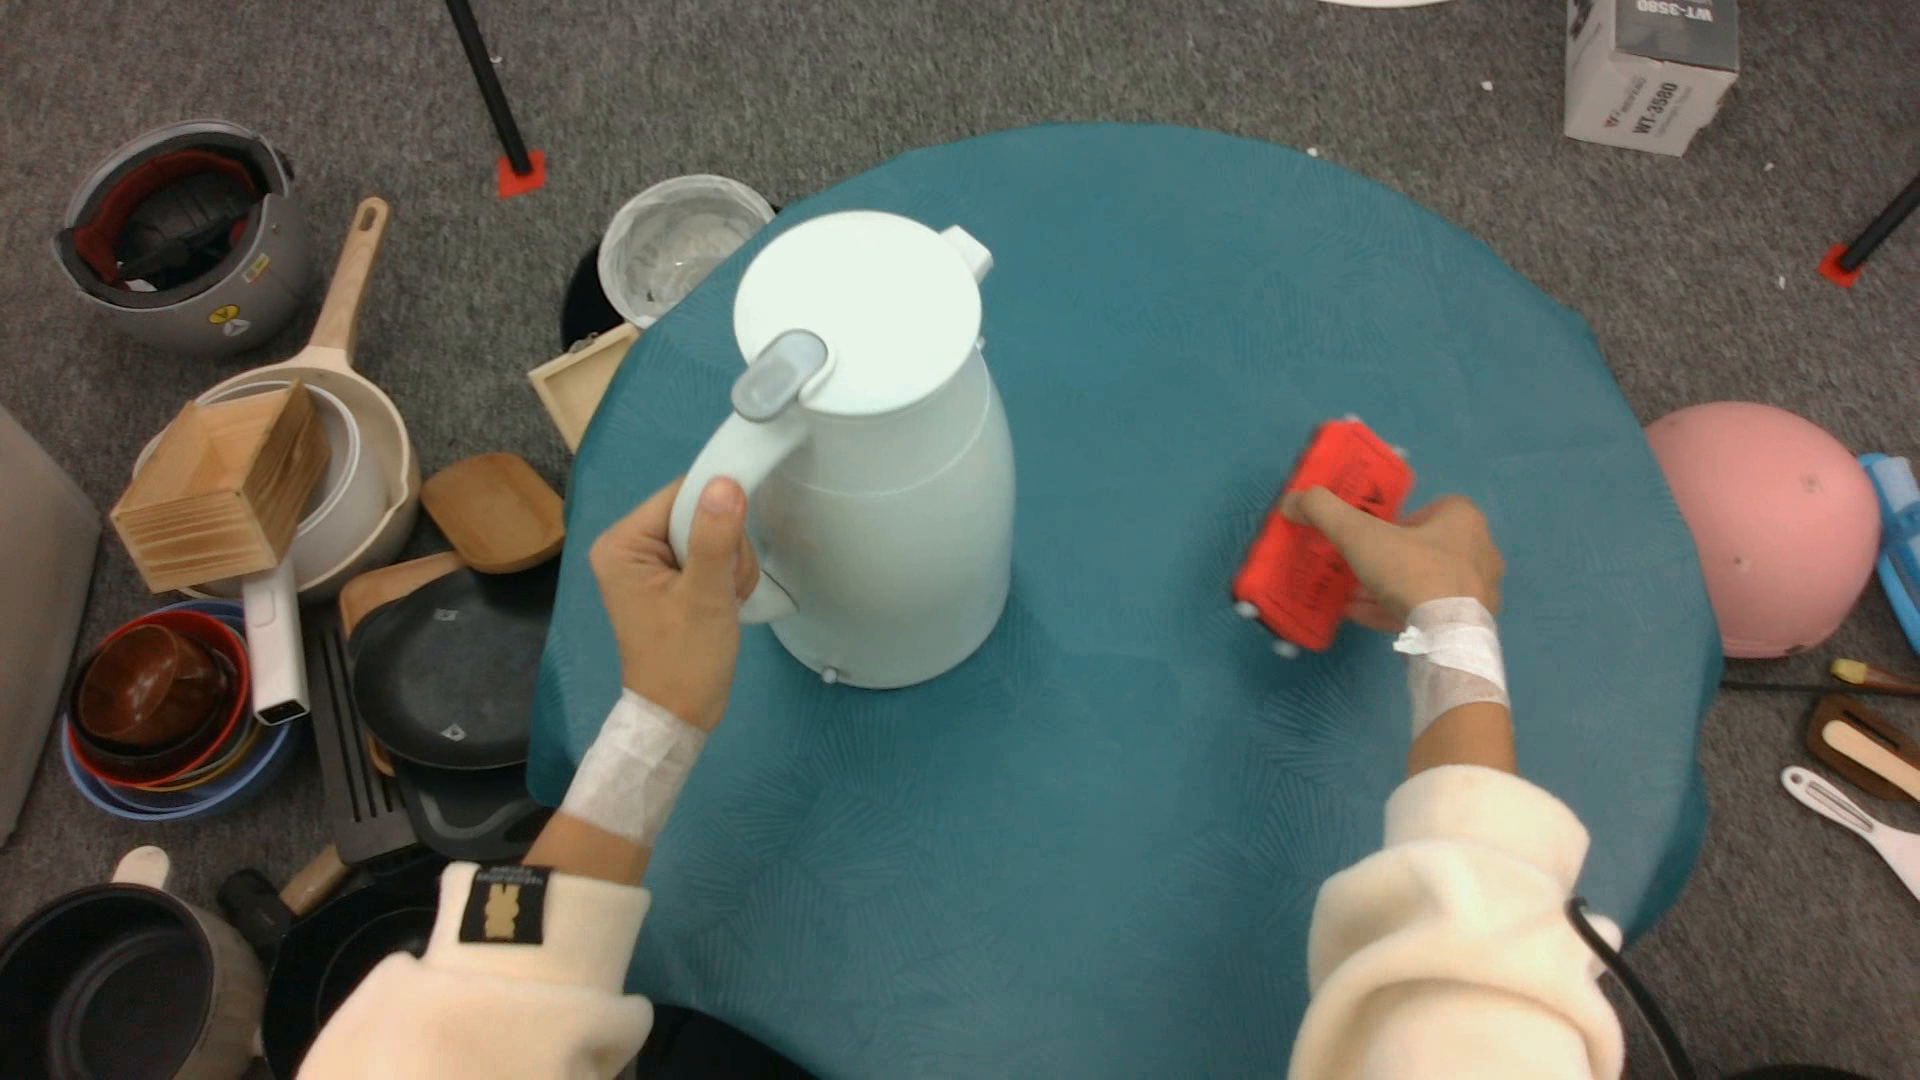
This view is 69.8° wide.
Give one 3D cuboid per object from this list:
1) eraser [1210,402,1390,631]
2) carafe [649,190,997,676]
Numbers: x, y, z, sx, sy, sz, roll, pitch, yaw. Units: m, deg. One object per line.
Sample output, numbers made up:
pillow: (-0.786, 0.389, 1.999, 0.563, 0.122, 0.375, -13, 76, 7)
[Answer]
eraser: (0.171, -0.012, 0.686, 0.059, 0.023, 0.108, 37, 75, -26)
carafe: (-0.059, -0.029, 0.604, 0.132, 0.247, 0.168, 40, 71, 16)
